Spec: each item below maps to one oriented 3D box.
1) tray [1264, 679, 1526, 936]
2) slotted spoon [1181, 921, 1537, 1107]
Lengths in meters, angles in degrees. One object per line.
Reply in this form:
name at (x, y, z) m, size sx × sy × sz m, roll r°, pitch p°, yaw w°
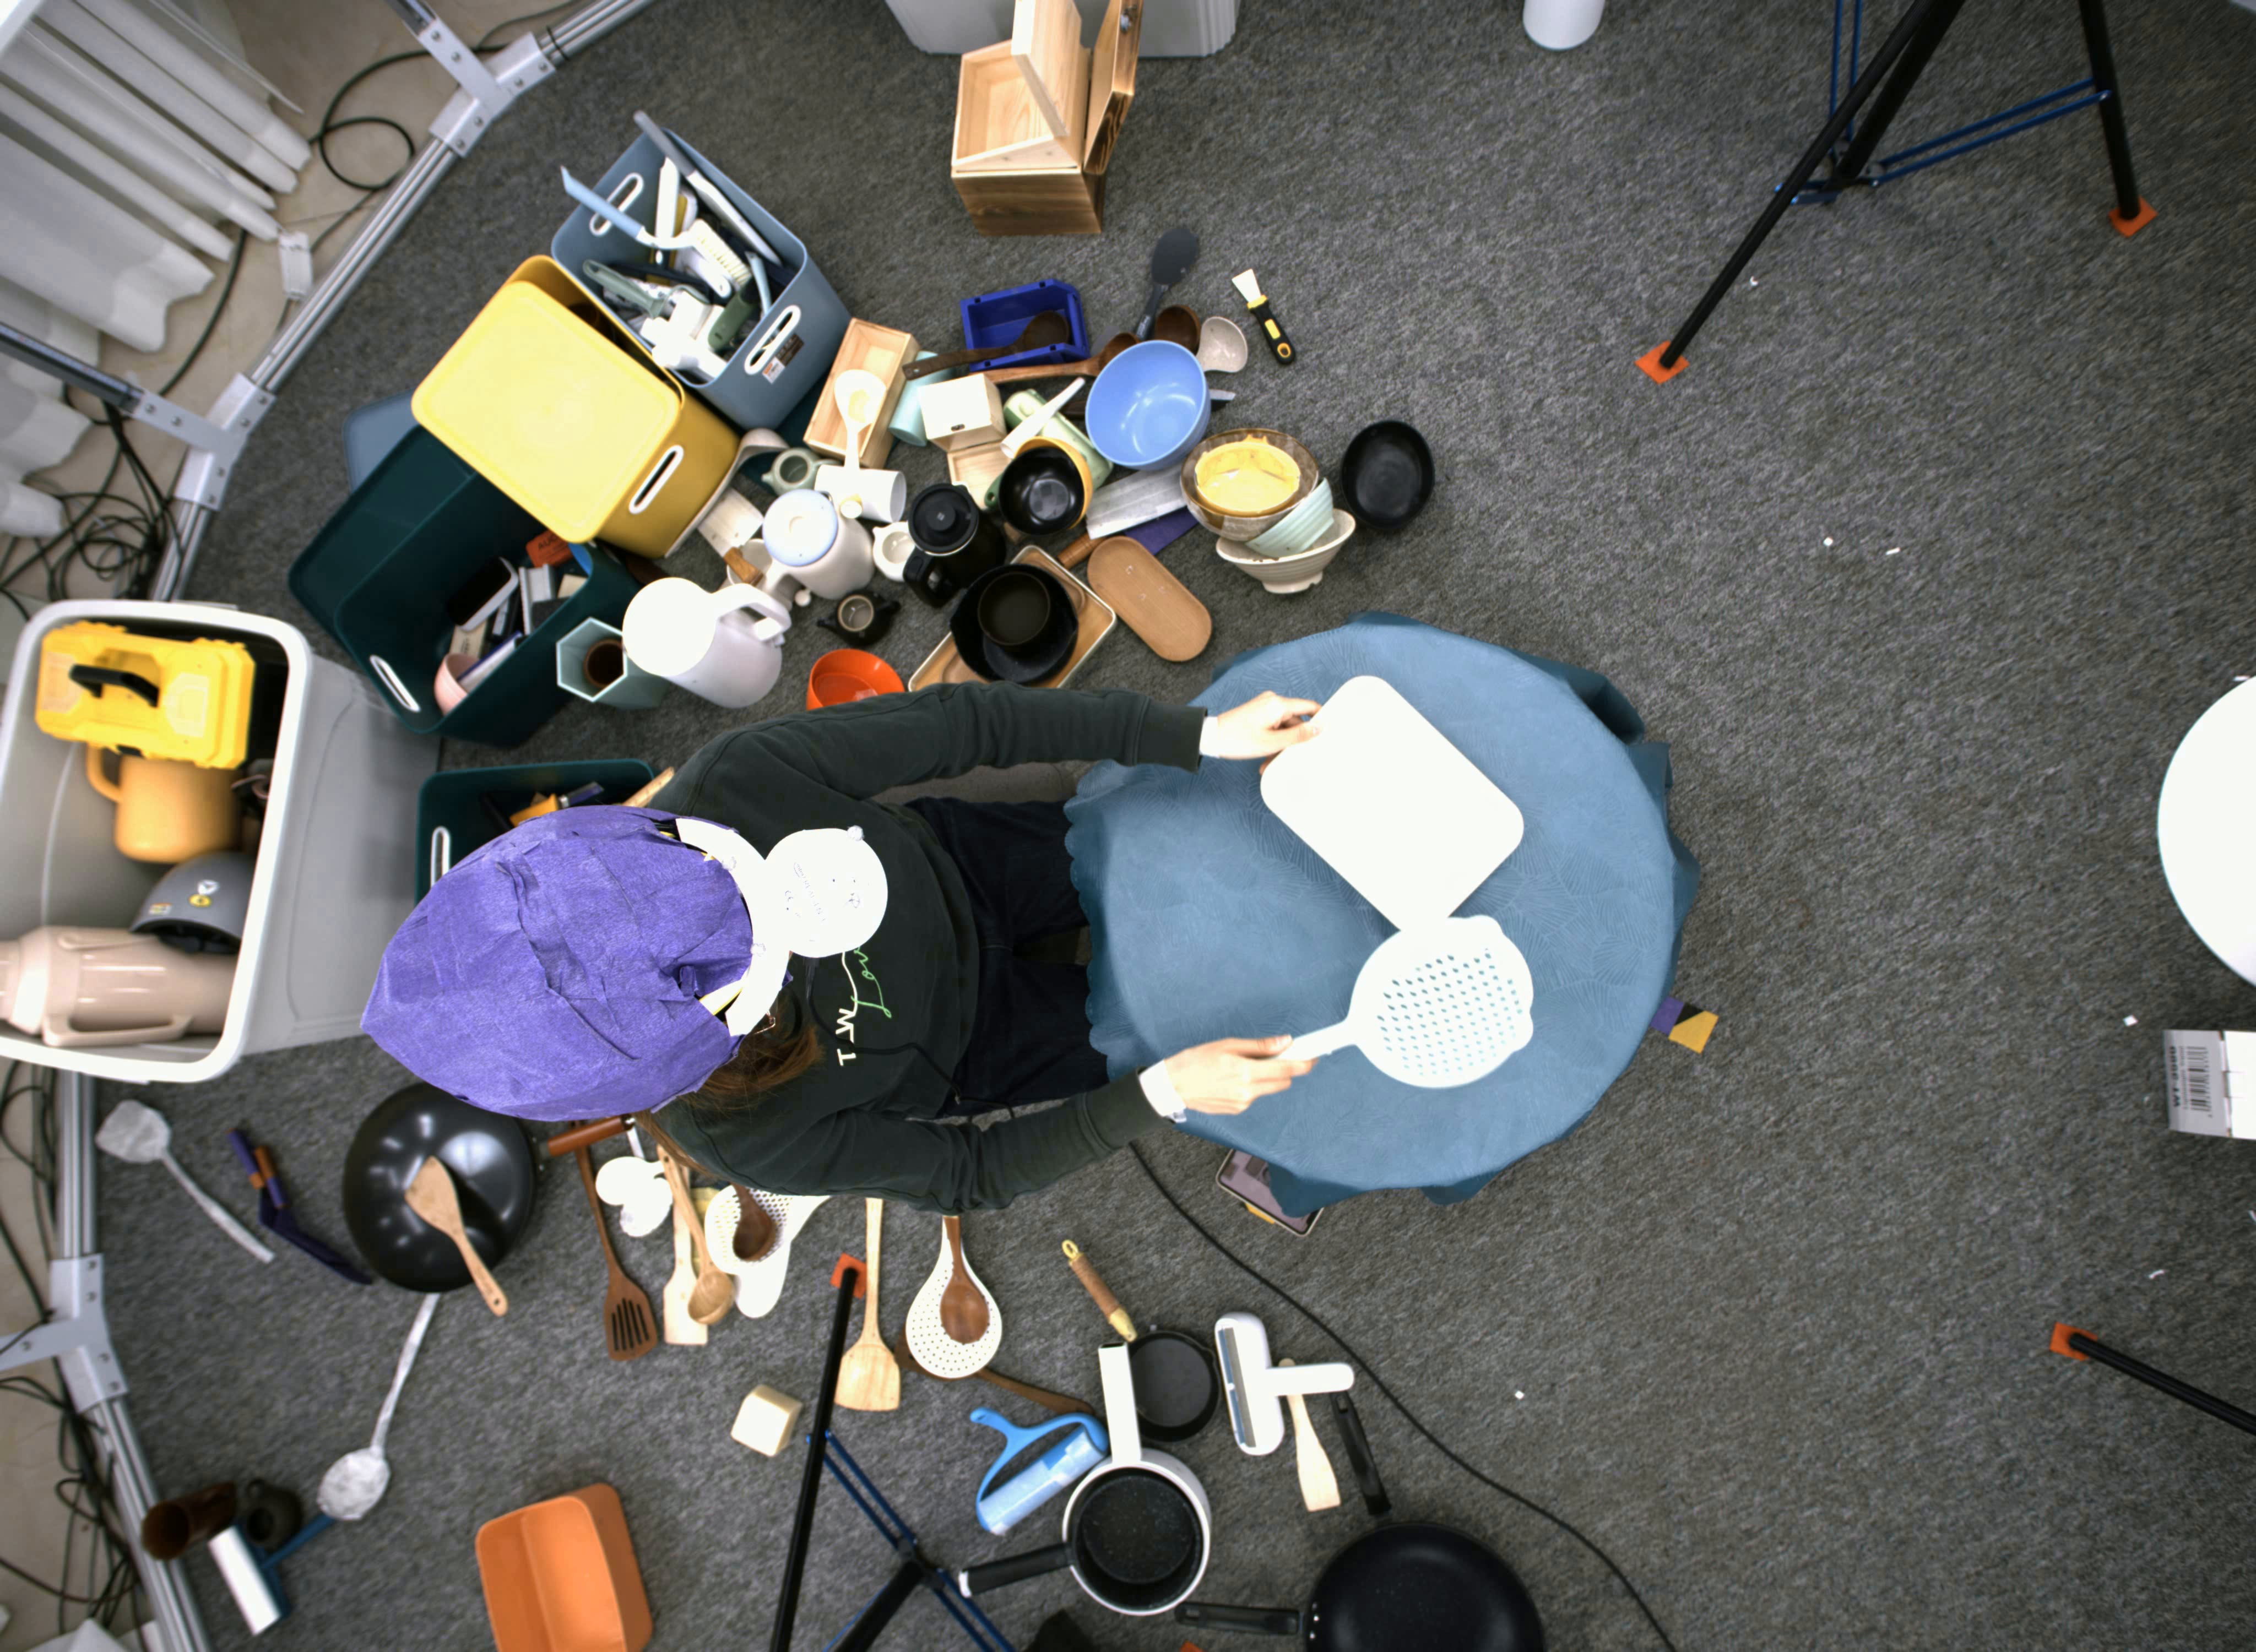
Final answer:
tray at (0.268, -0.019, 1.387) m, size 0.240 × 0.017 × 0.172 m, roll 42°, pitch 99°, yaw -4°
slotted spoon at (0.212, 0.205, 1.324) m, size 0.361 × 0.077 × 0.165 m, roll -16°, pitch 50°, yaw 11°
